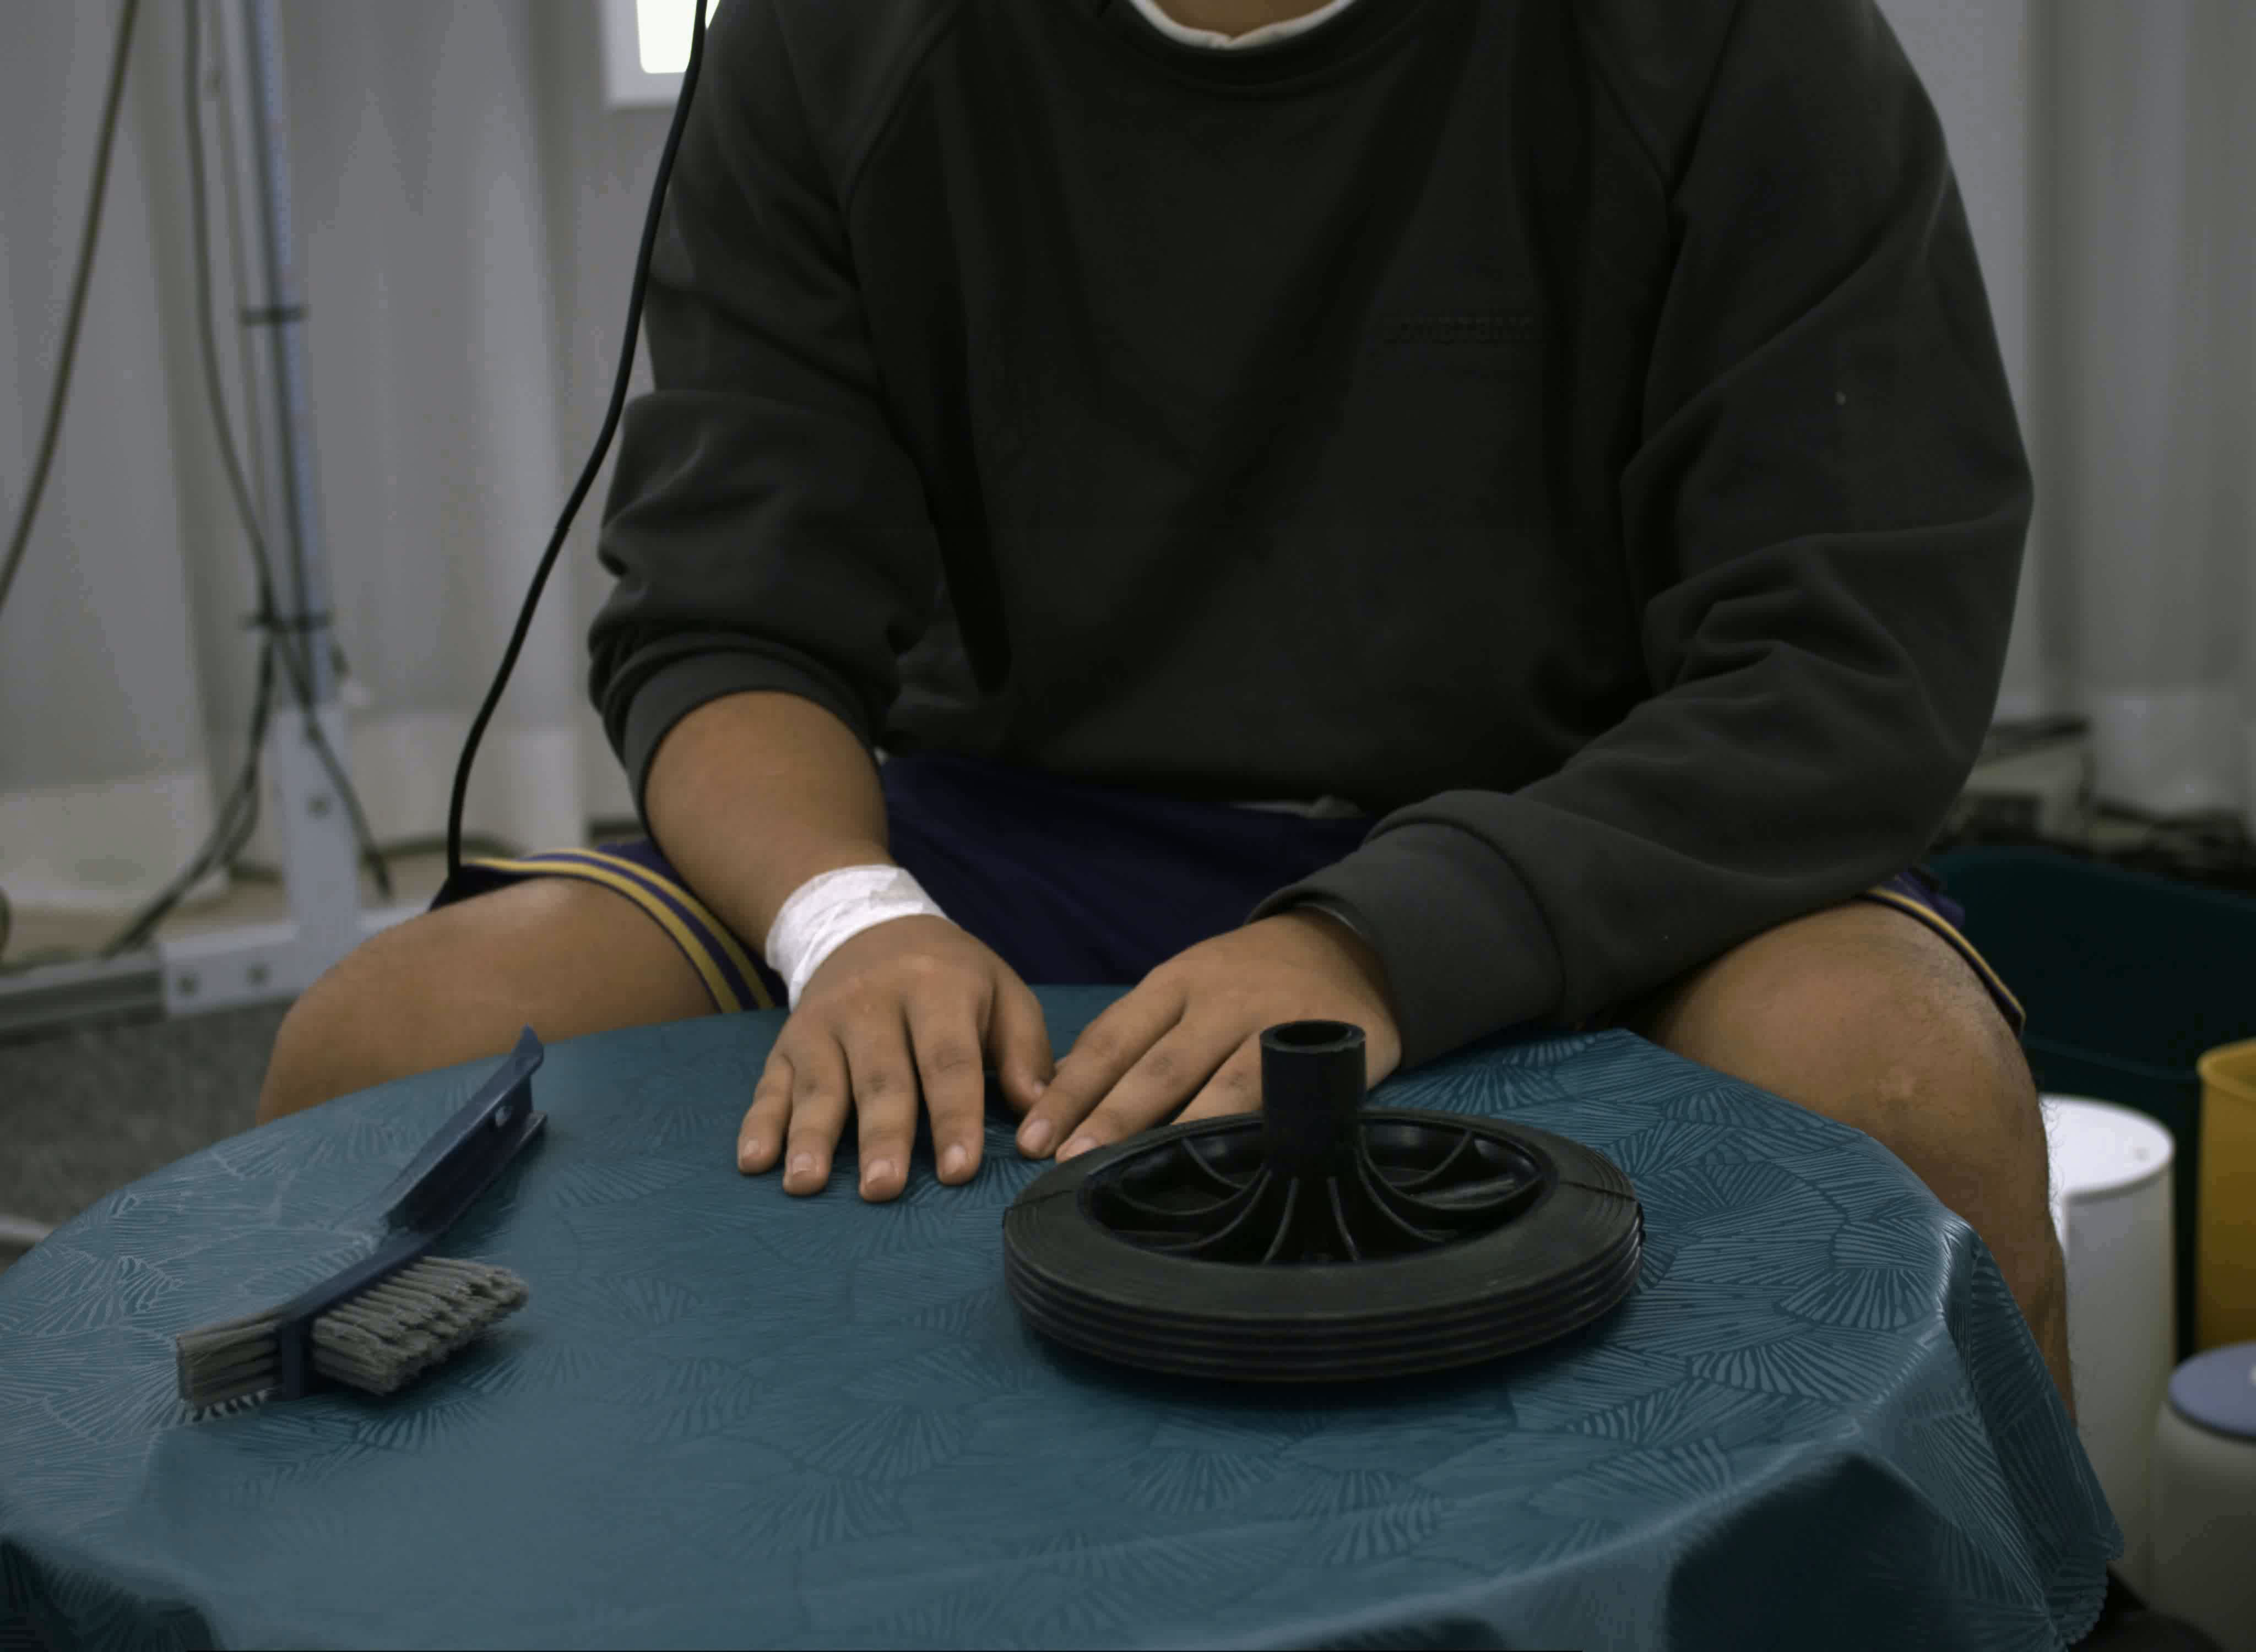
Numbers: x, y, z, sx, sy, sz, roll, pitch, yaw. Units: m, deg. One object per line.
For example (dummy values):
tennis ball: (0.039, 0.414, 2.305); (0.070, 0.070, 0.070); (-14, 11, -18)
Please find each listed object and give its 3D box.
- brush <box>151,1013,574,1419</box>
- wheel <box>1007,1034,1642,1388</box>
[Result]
brush: (-0.226, 0.117, 1.688); (0.095, 0.033, 0.275); (-3, 16, 4)
wheel: (0.057, 0.103, 1.601); (0.188, 0.079, 0.189); (9, 19, 40)
